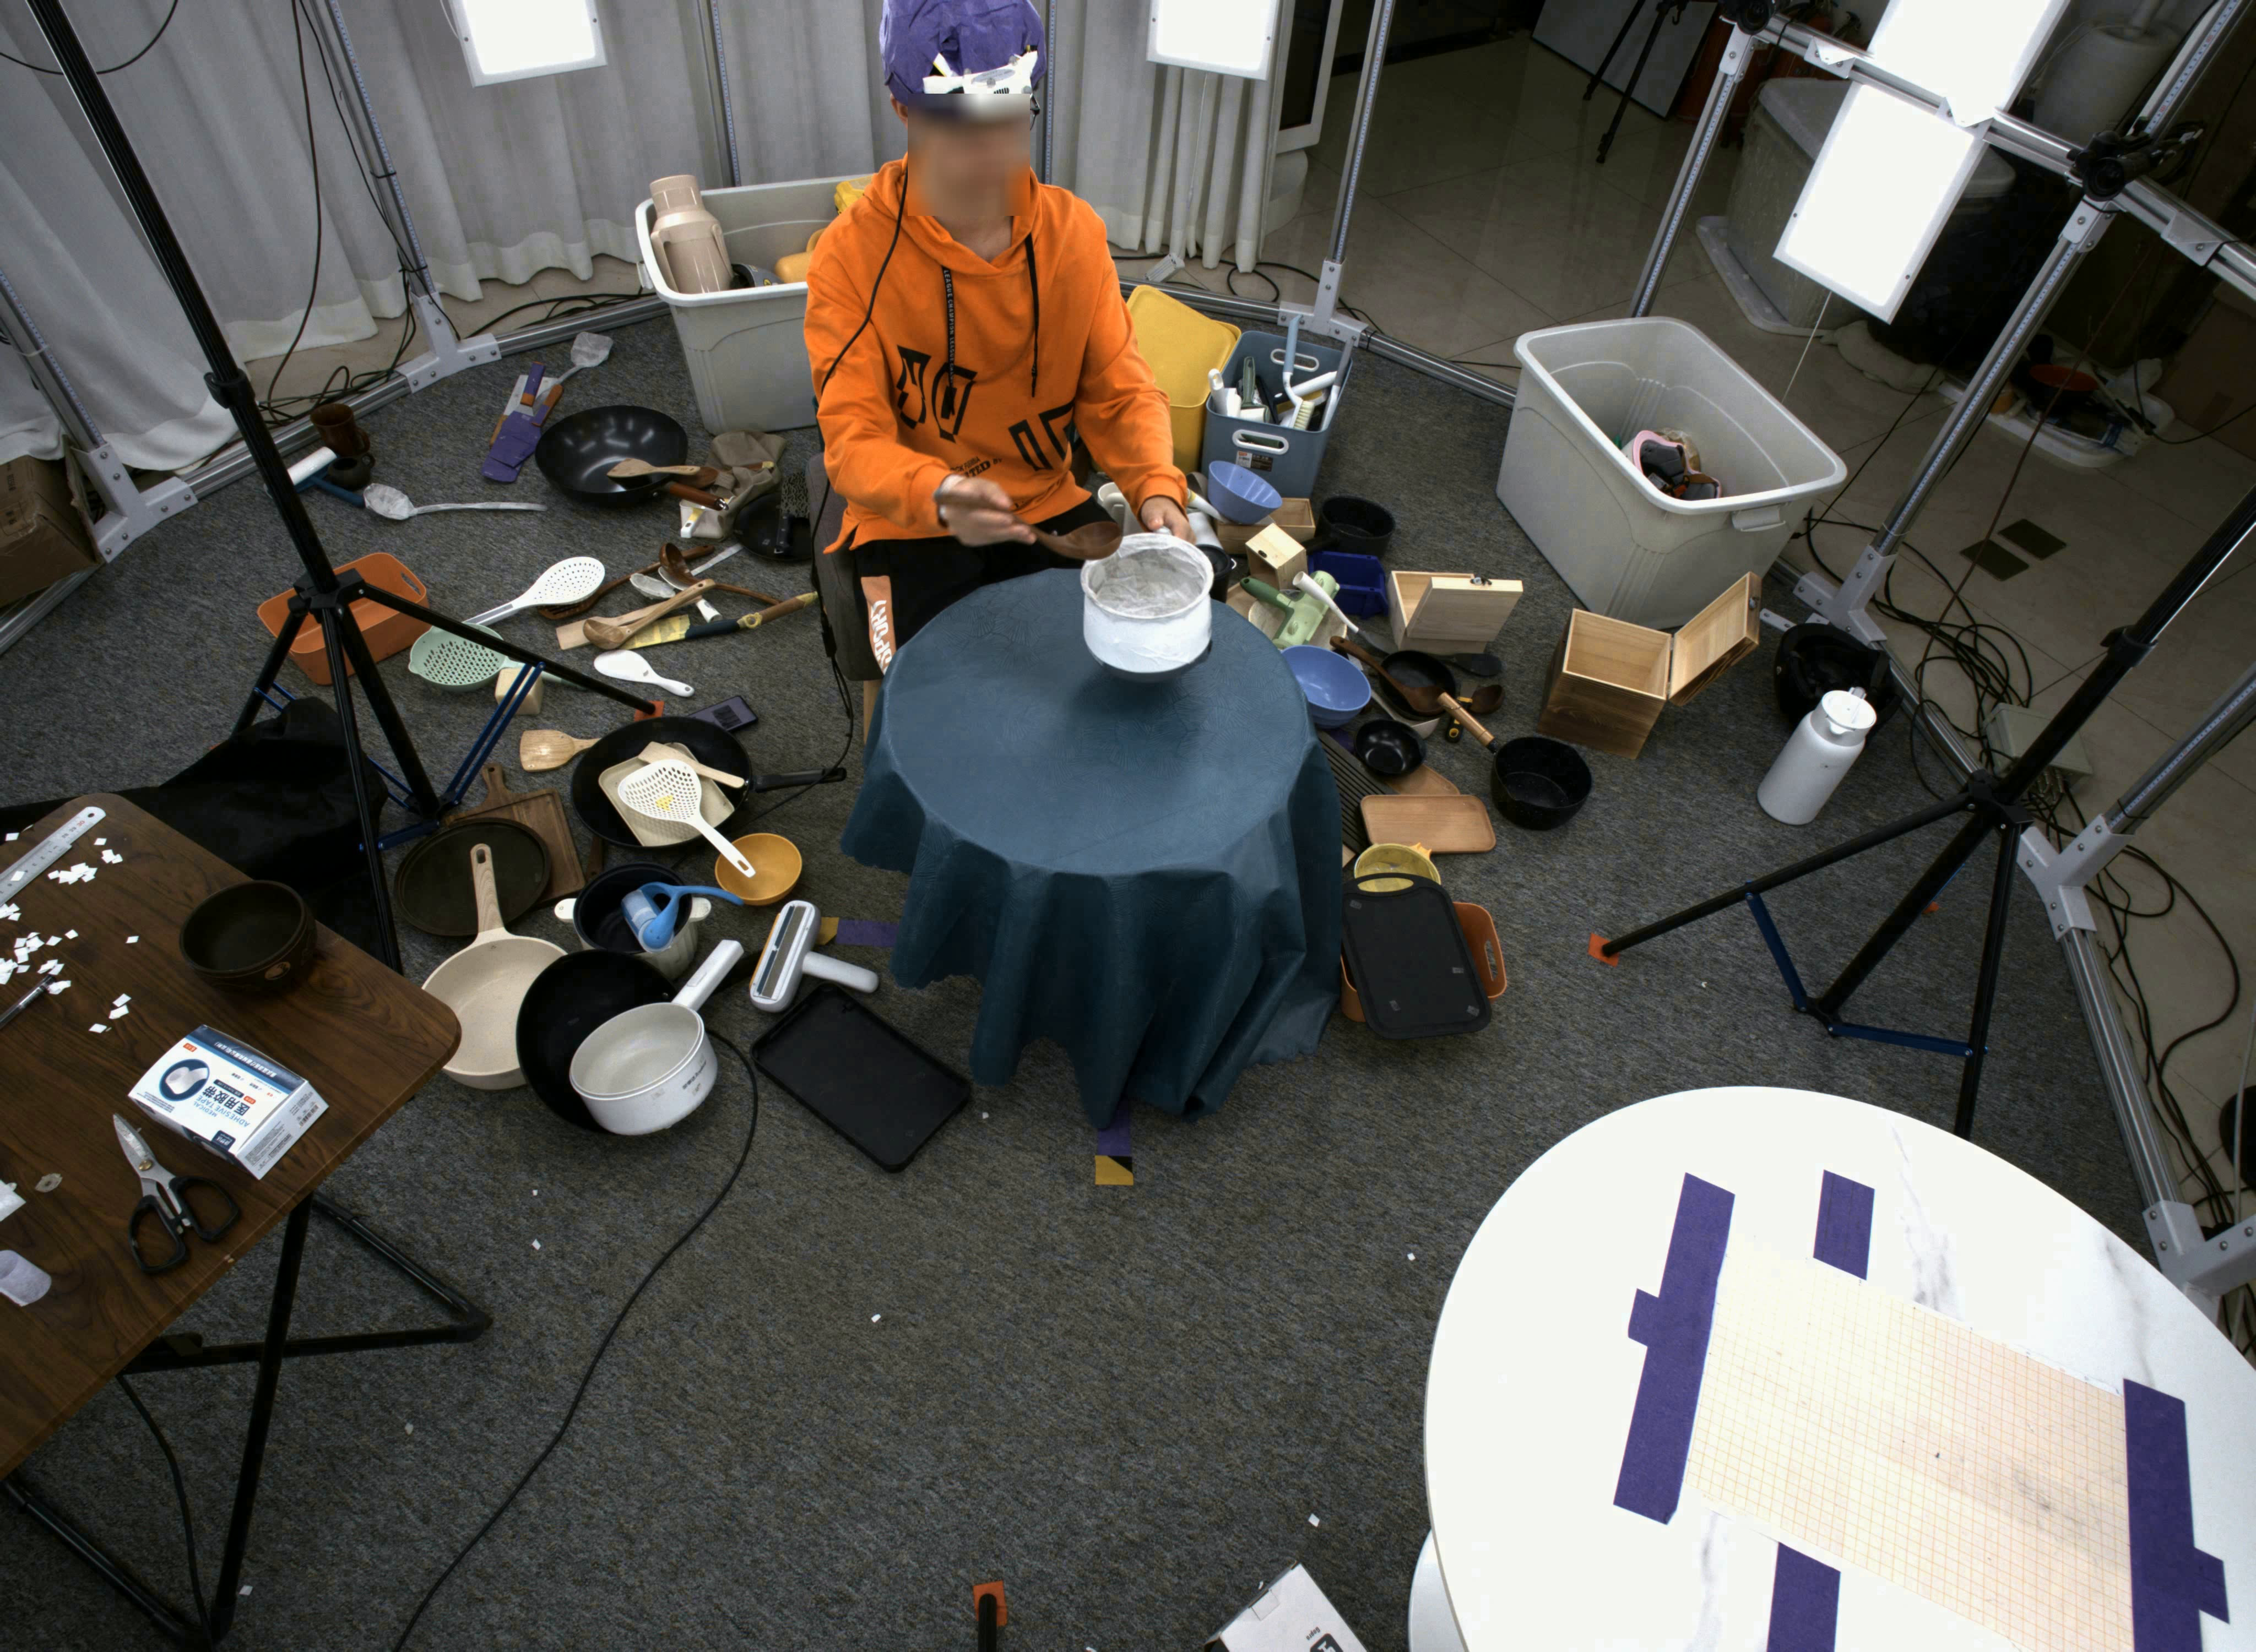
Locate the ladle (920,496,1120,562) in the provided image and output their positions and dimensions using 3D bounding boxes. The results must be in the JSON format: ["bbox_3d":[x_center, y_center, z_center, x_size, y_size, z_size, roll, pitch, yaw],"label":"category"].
[{"bbox_3d":[-0.130,-0.386,1.616,0.258,0.064,0.078,14,21,-29],"label":"ladle"}]

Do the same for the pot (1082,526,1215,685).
[{"bbox_3d":[0.033,-0.313,1.772,0.179,0.133,0.239,7,50,7],"label":"pot"}]
